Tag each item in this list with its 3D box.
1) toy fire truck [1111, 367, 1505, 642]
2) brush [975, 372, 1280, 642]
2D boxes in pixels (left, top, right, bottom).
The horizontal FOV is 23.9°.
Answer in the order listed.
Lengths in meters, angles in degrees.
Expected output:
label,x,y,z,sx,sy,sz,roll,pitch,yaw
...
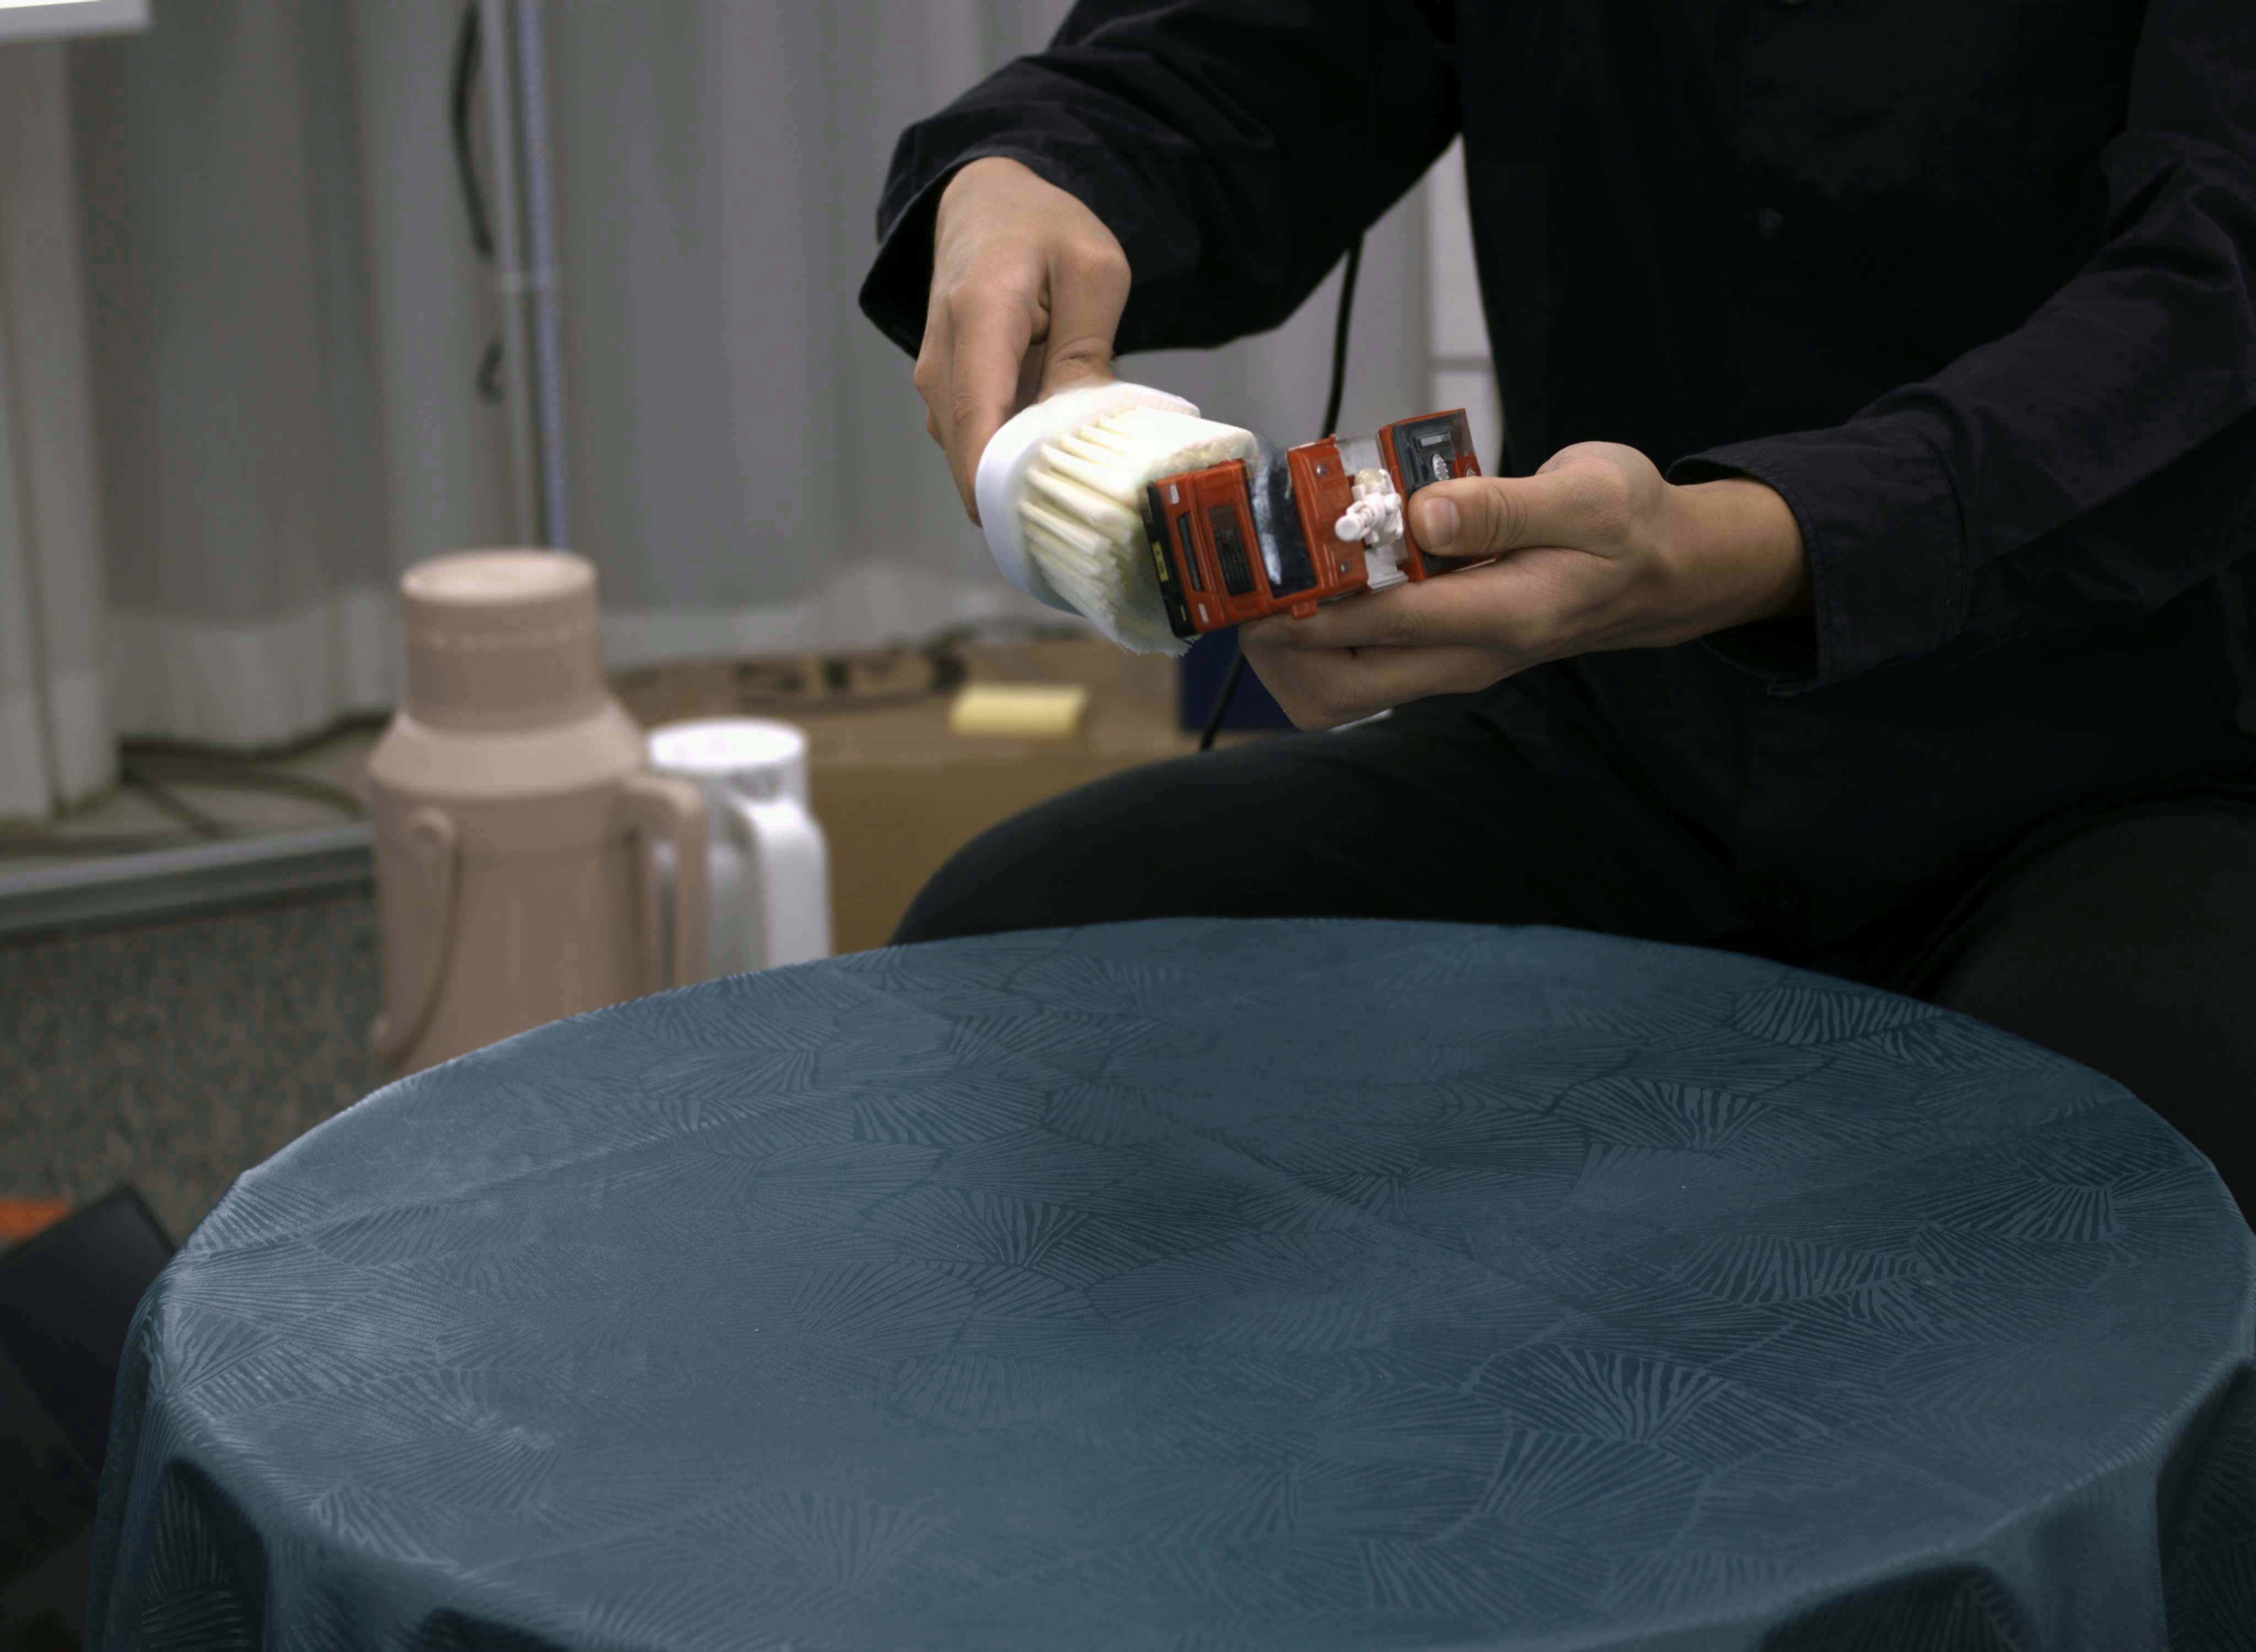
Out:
label,x,y,z,sx,sy,sz,roll,pitch,yaw
toy fire truck,0.053,-0.090,1.464,0.071,0.054,0.165,-14,3,22
brush,0.010,-0.100,1.566,0.083,0.085,0.324,-28,2,6
